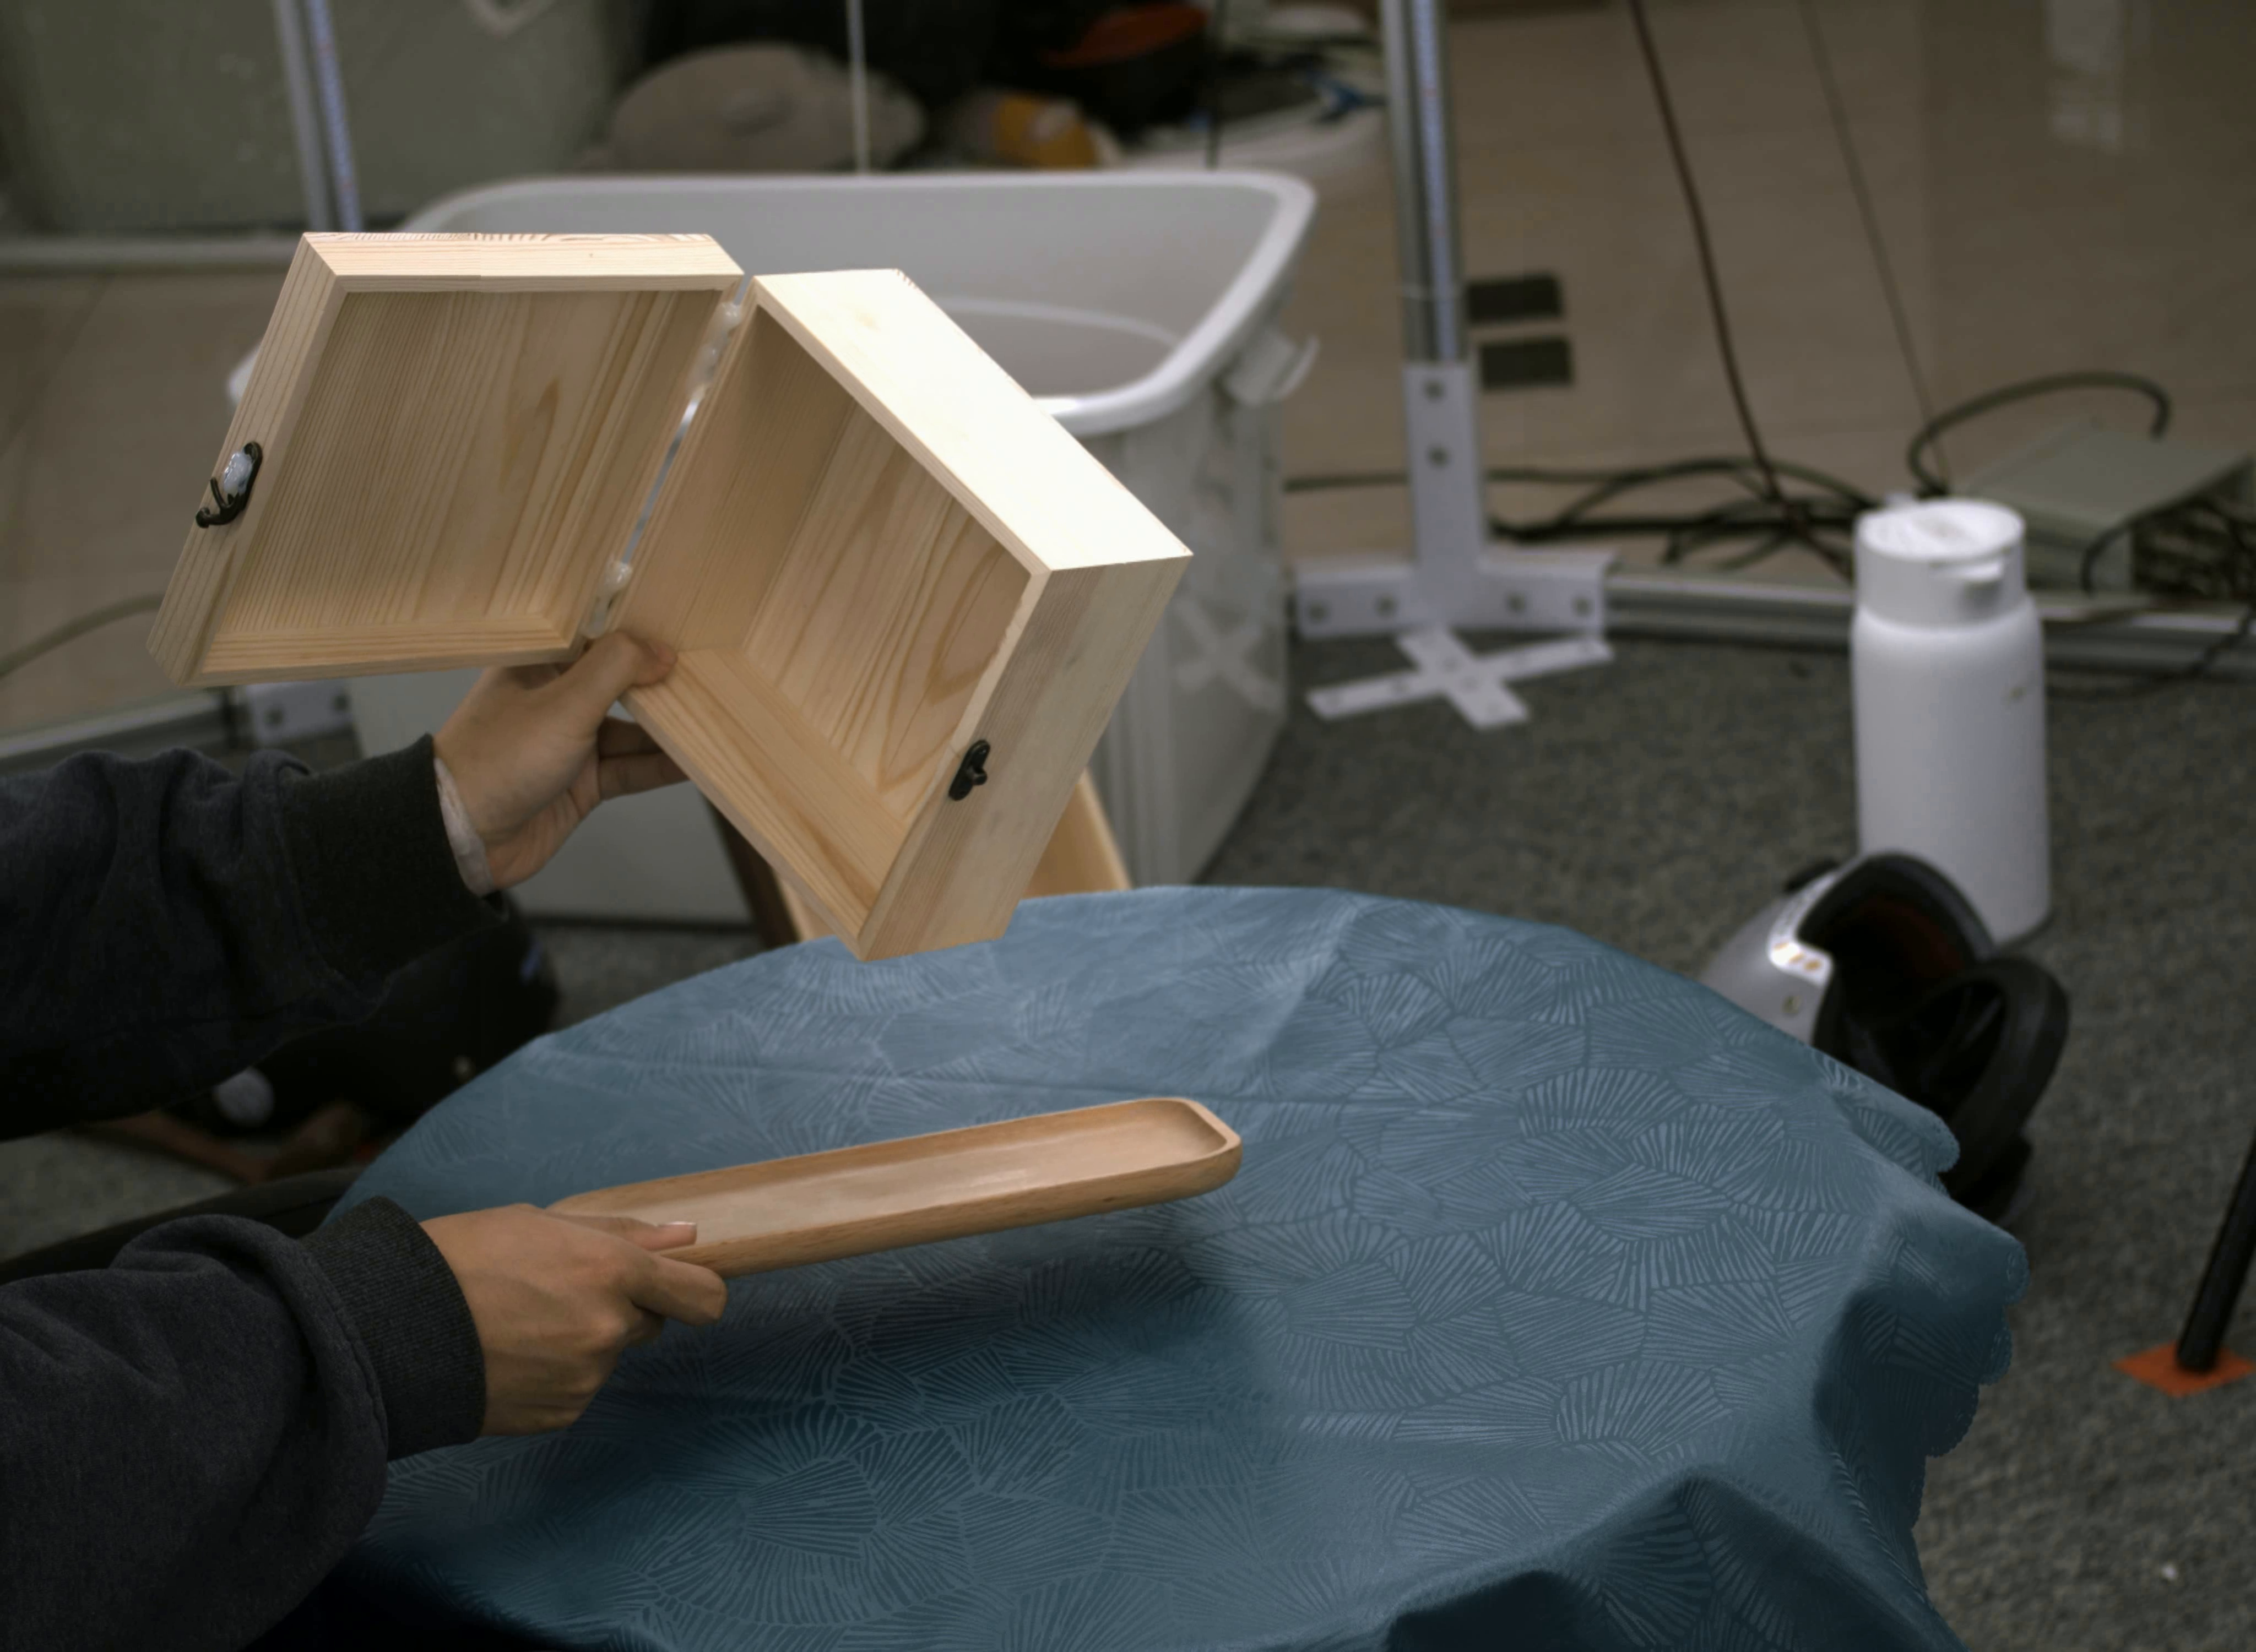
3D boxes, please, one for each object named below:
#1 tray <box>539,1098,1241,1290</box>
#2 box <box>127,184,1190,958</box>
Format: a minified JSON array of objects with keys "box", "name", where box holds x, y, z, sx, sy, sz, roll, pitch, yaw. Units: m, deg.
[{"box":[-0.087,0.134,2.070,0.250,0.023,0.130,-9,6,-9],"name":"tray"},{"box":[-0.172,-0.091,2.041,0.252,0.185,0.262,-12,47,-43],"name":"box"}]
